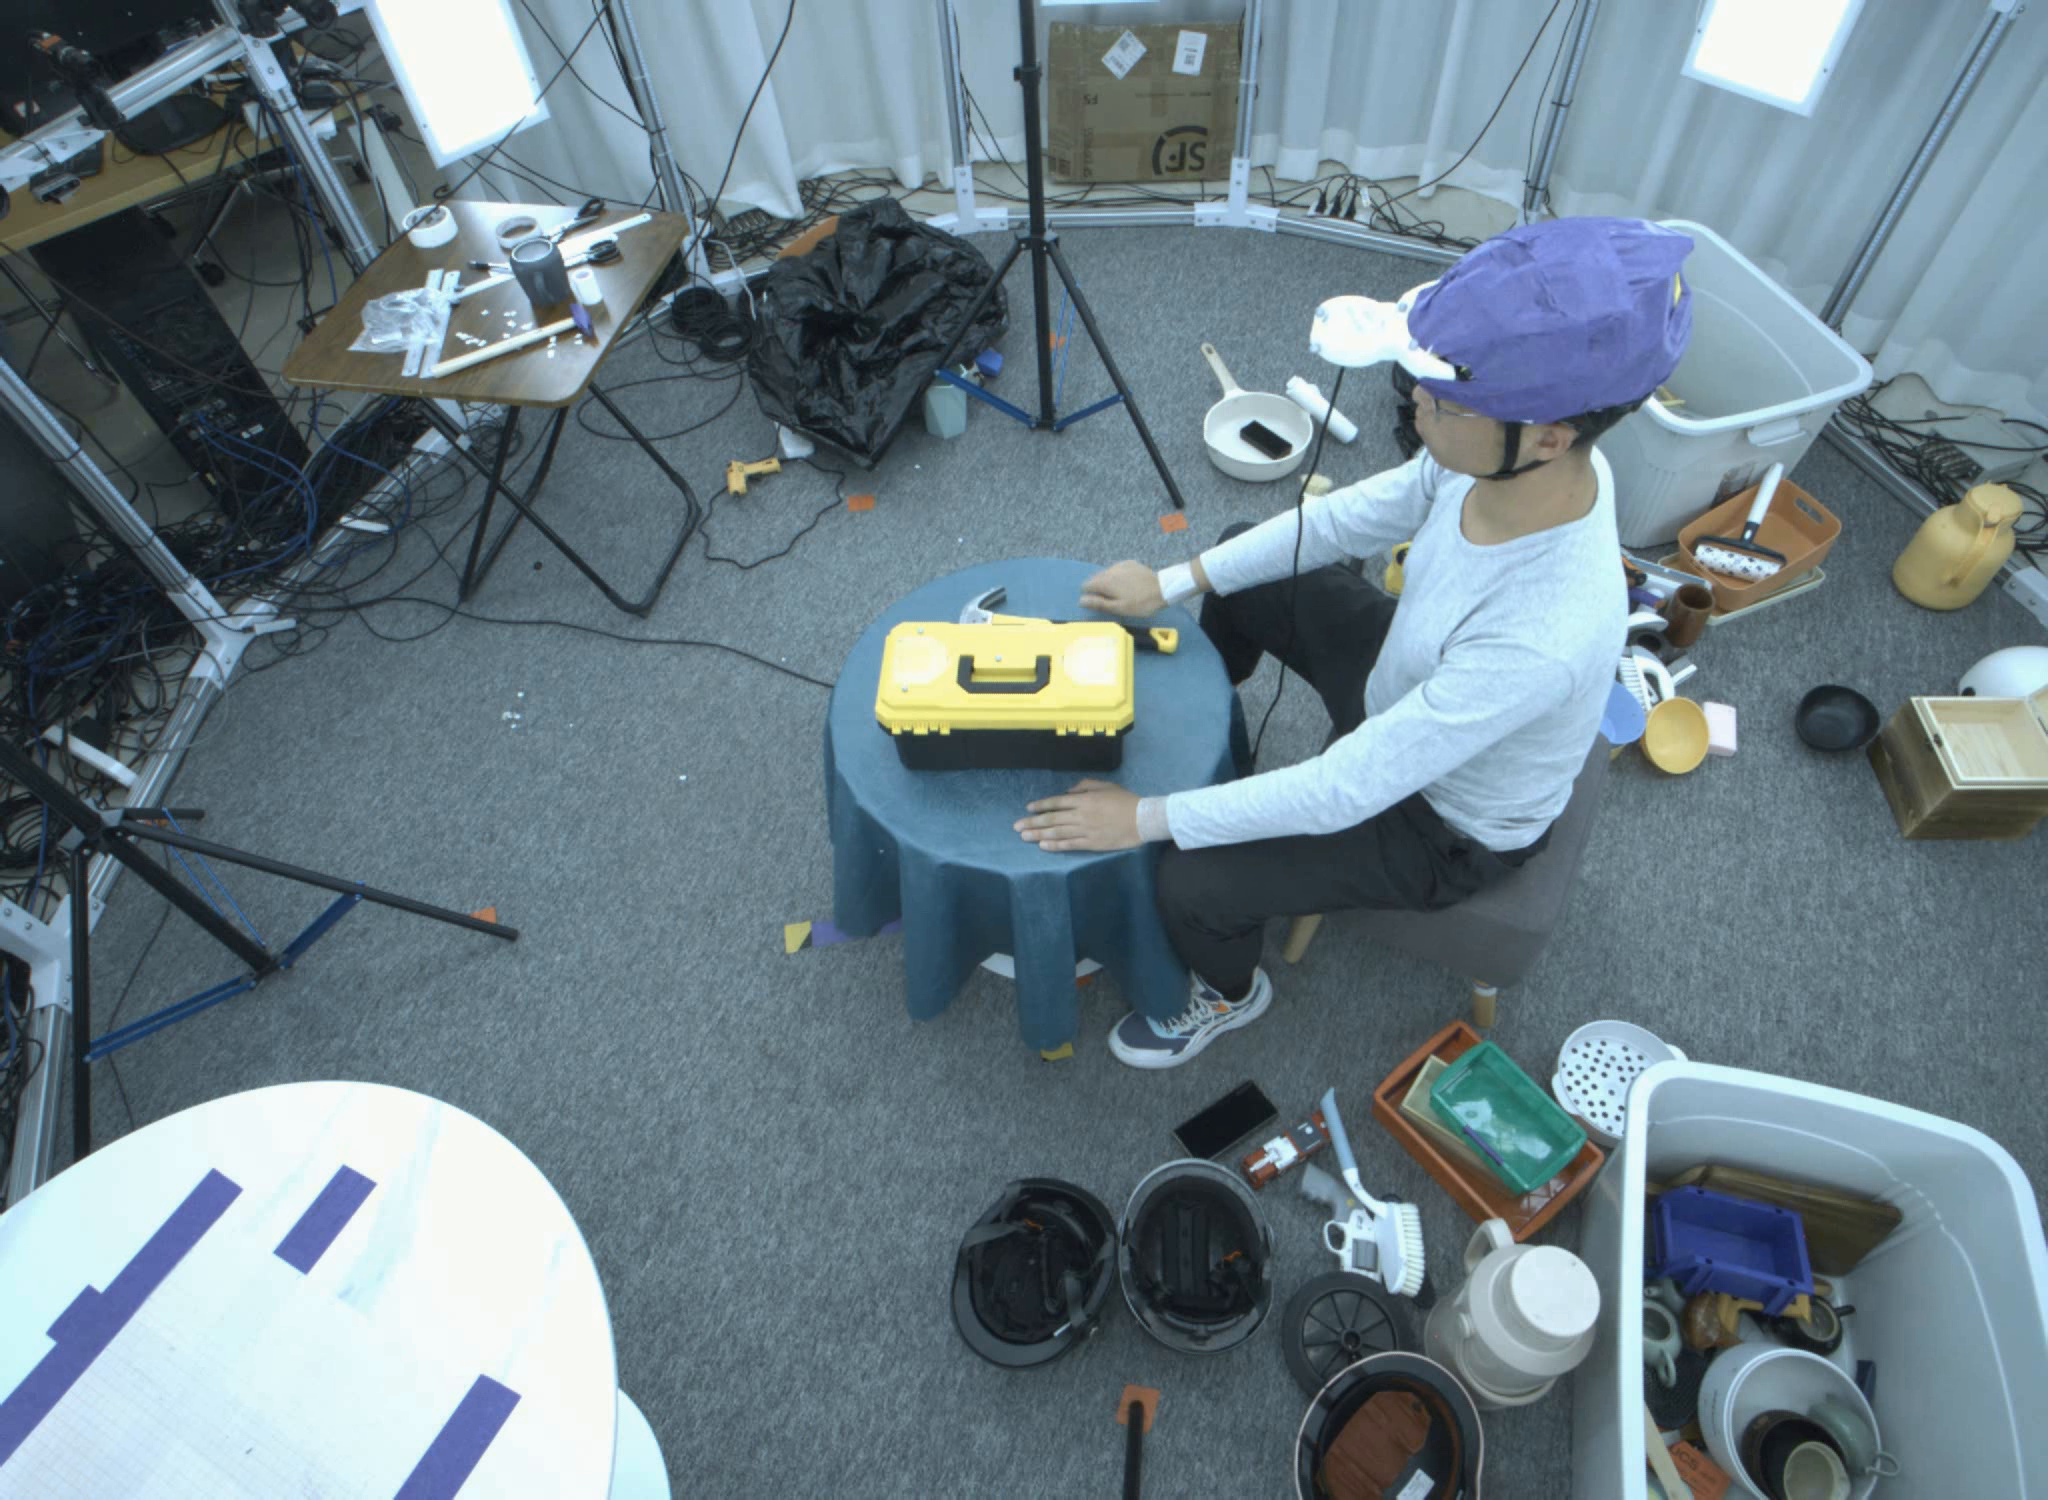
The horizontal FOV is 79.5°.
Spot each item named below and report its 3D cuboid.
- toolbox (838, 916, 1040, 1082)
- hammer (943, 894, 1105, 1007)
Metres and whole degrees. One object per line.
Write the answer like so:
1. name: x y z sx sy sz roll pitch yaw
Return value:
1. toolbox: -0.153 0.458 2.254 0.347 0.174 0.182 24 59 18
2. hammer: 0.012 0.392 2.387 0.333 0.032 0.132 32 59 20
